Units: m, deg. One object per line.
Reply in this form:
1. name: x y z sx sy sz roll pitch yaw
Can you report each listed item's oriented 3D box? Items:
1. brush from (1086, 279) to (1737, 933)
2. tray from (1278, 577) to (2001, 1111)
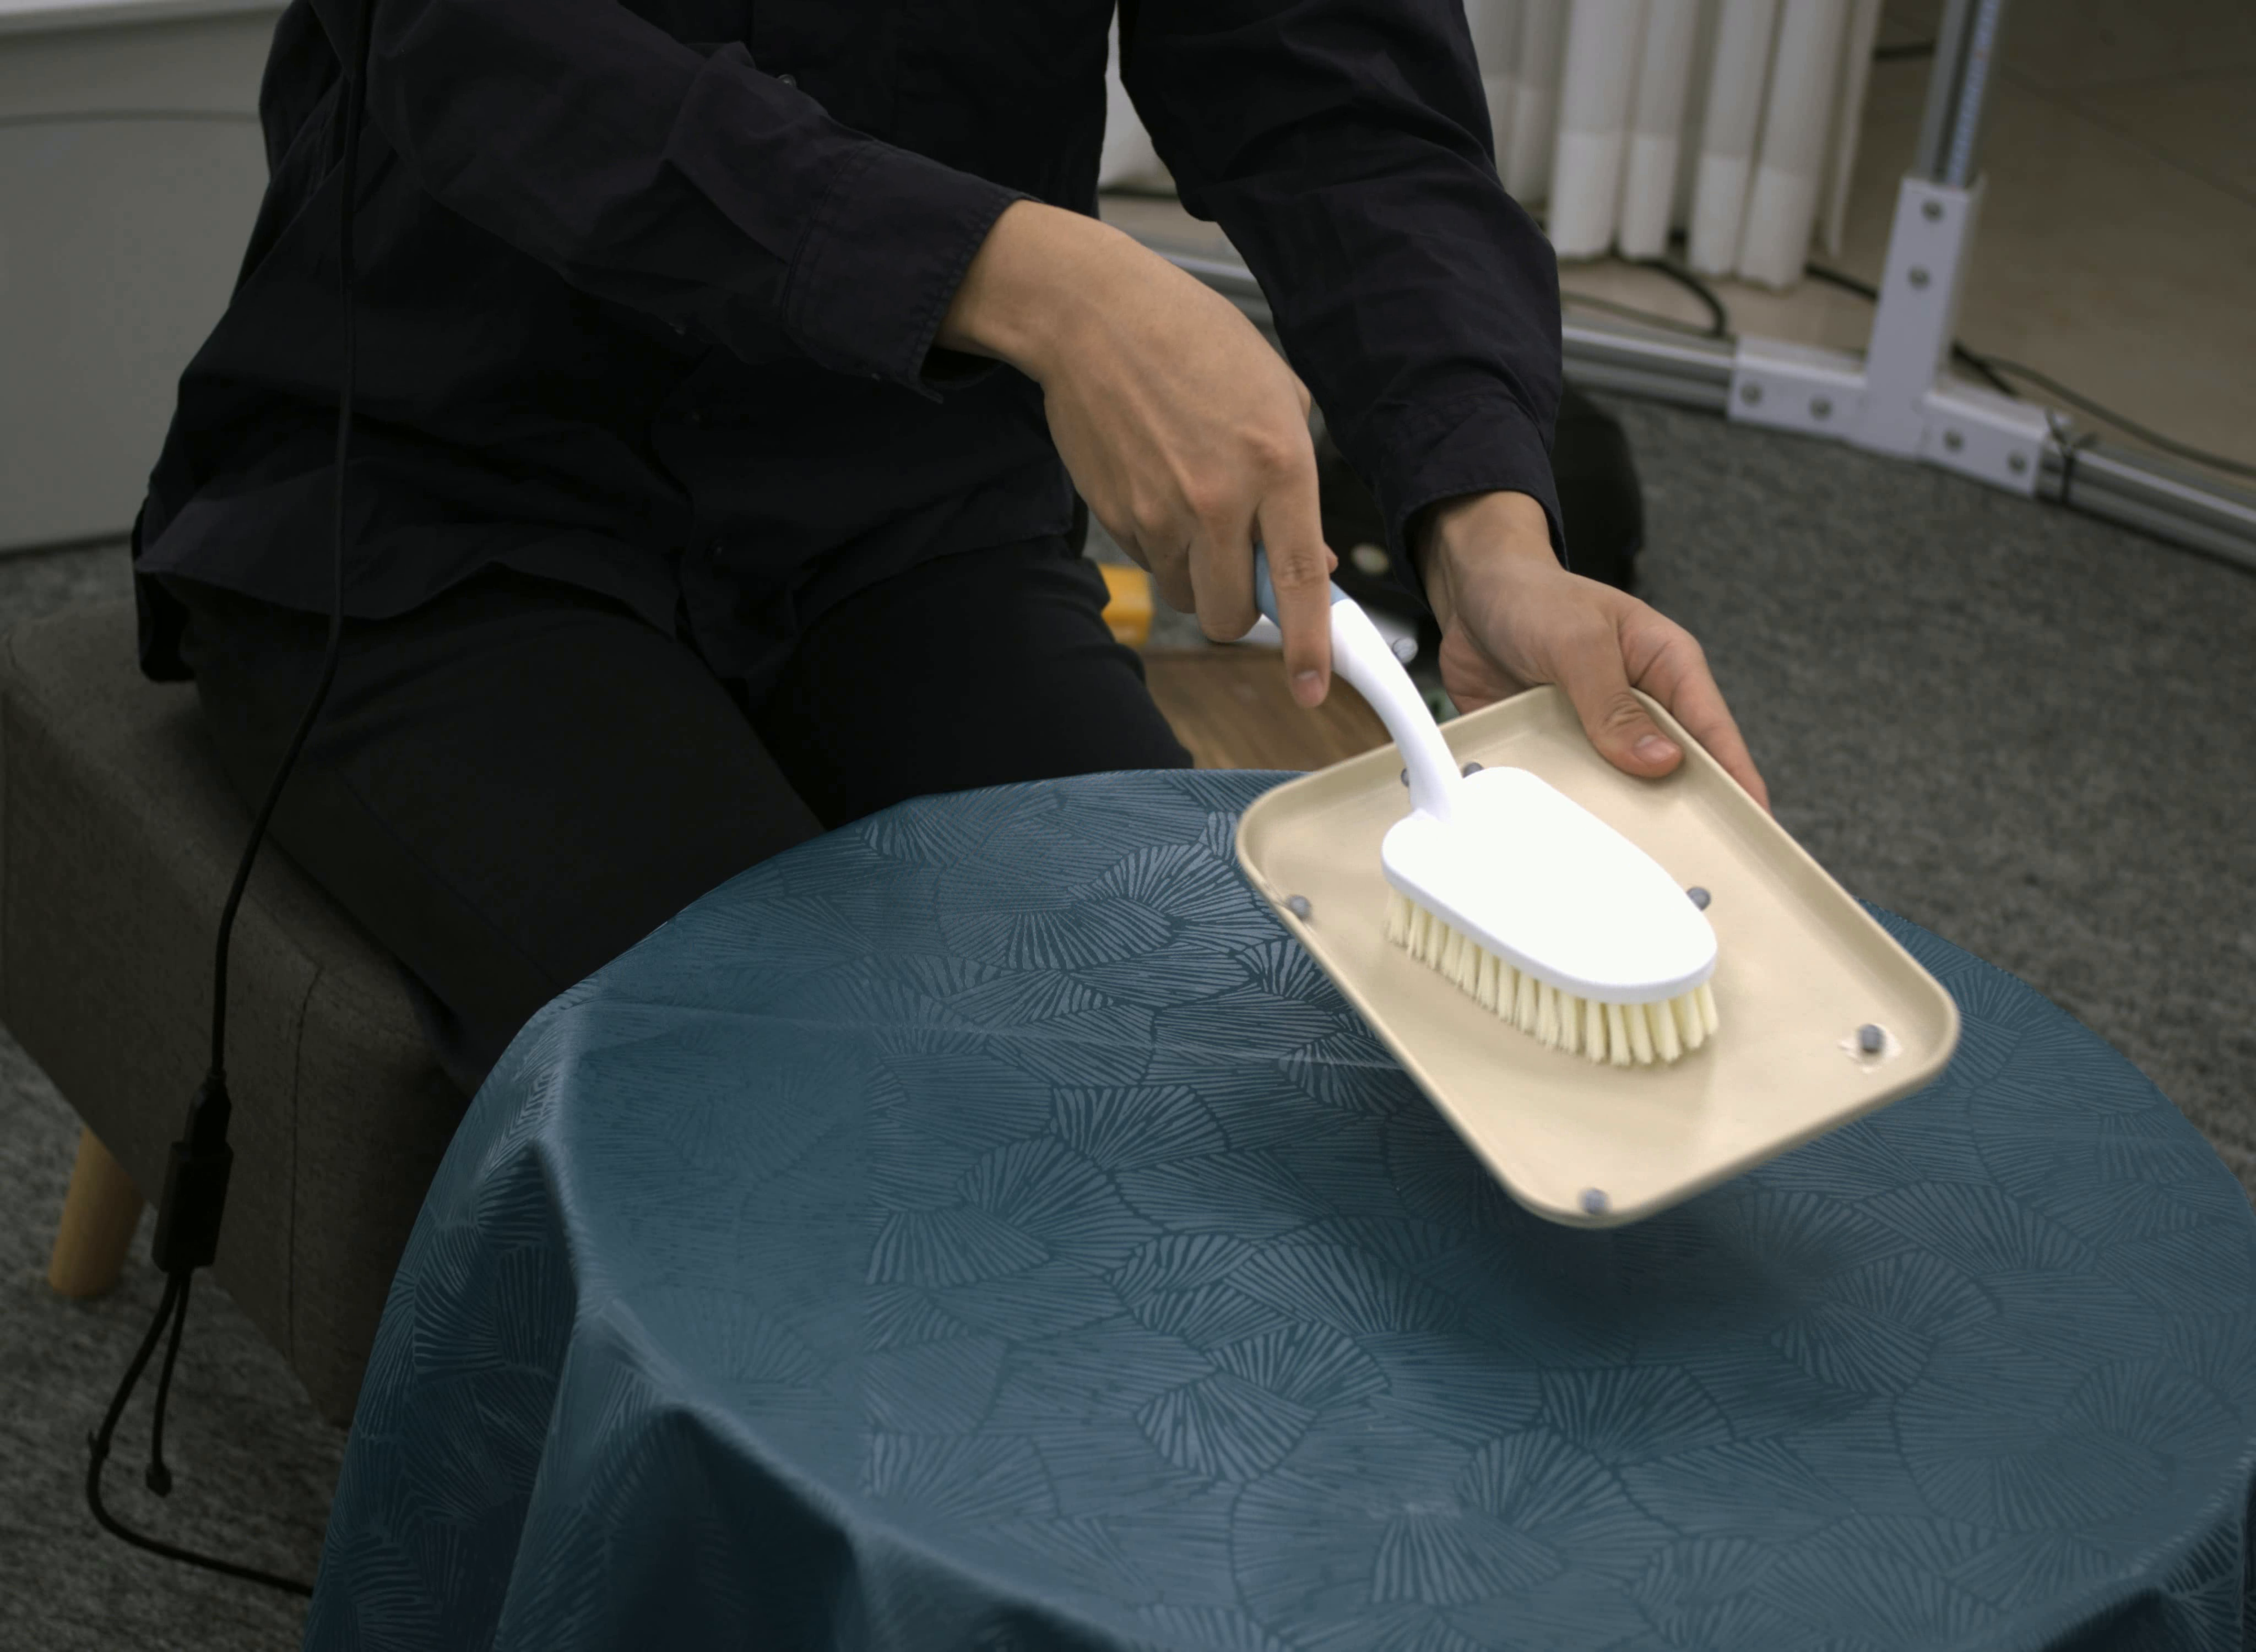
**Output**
1. brush: 0.095 -0.071 1.865 0.328 0.084 0.082 44 23 26
2. tray: 0.172 0.004 1.828 0.170 0.017 0.242 -22 44 -19
